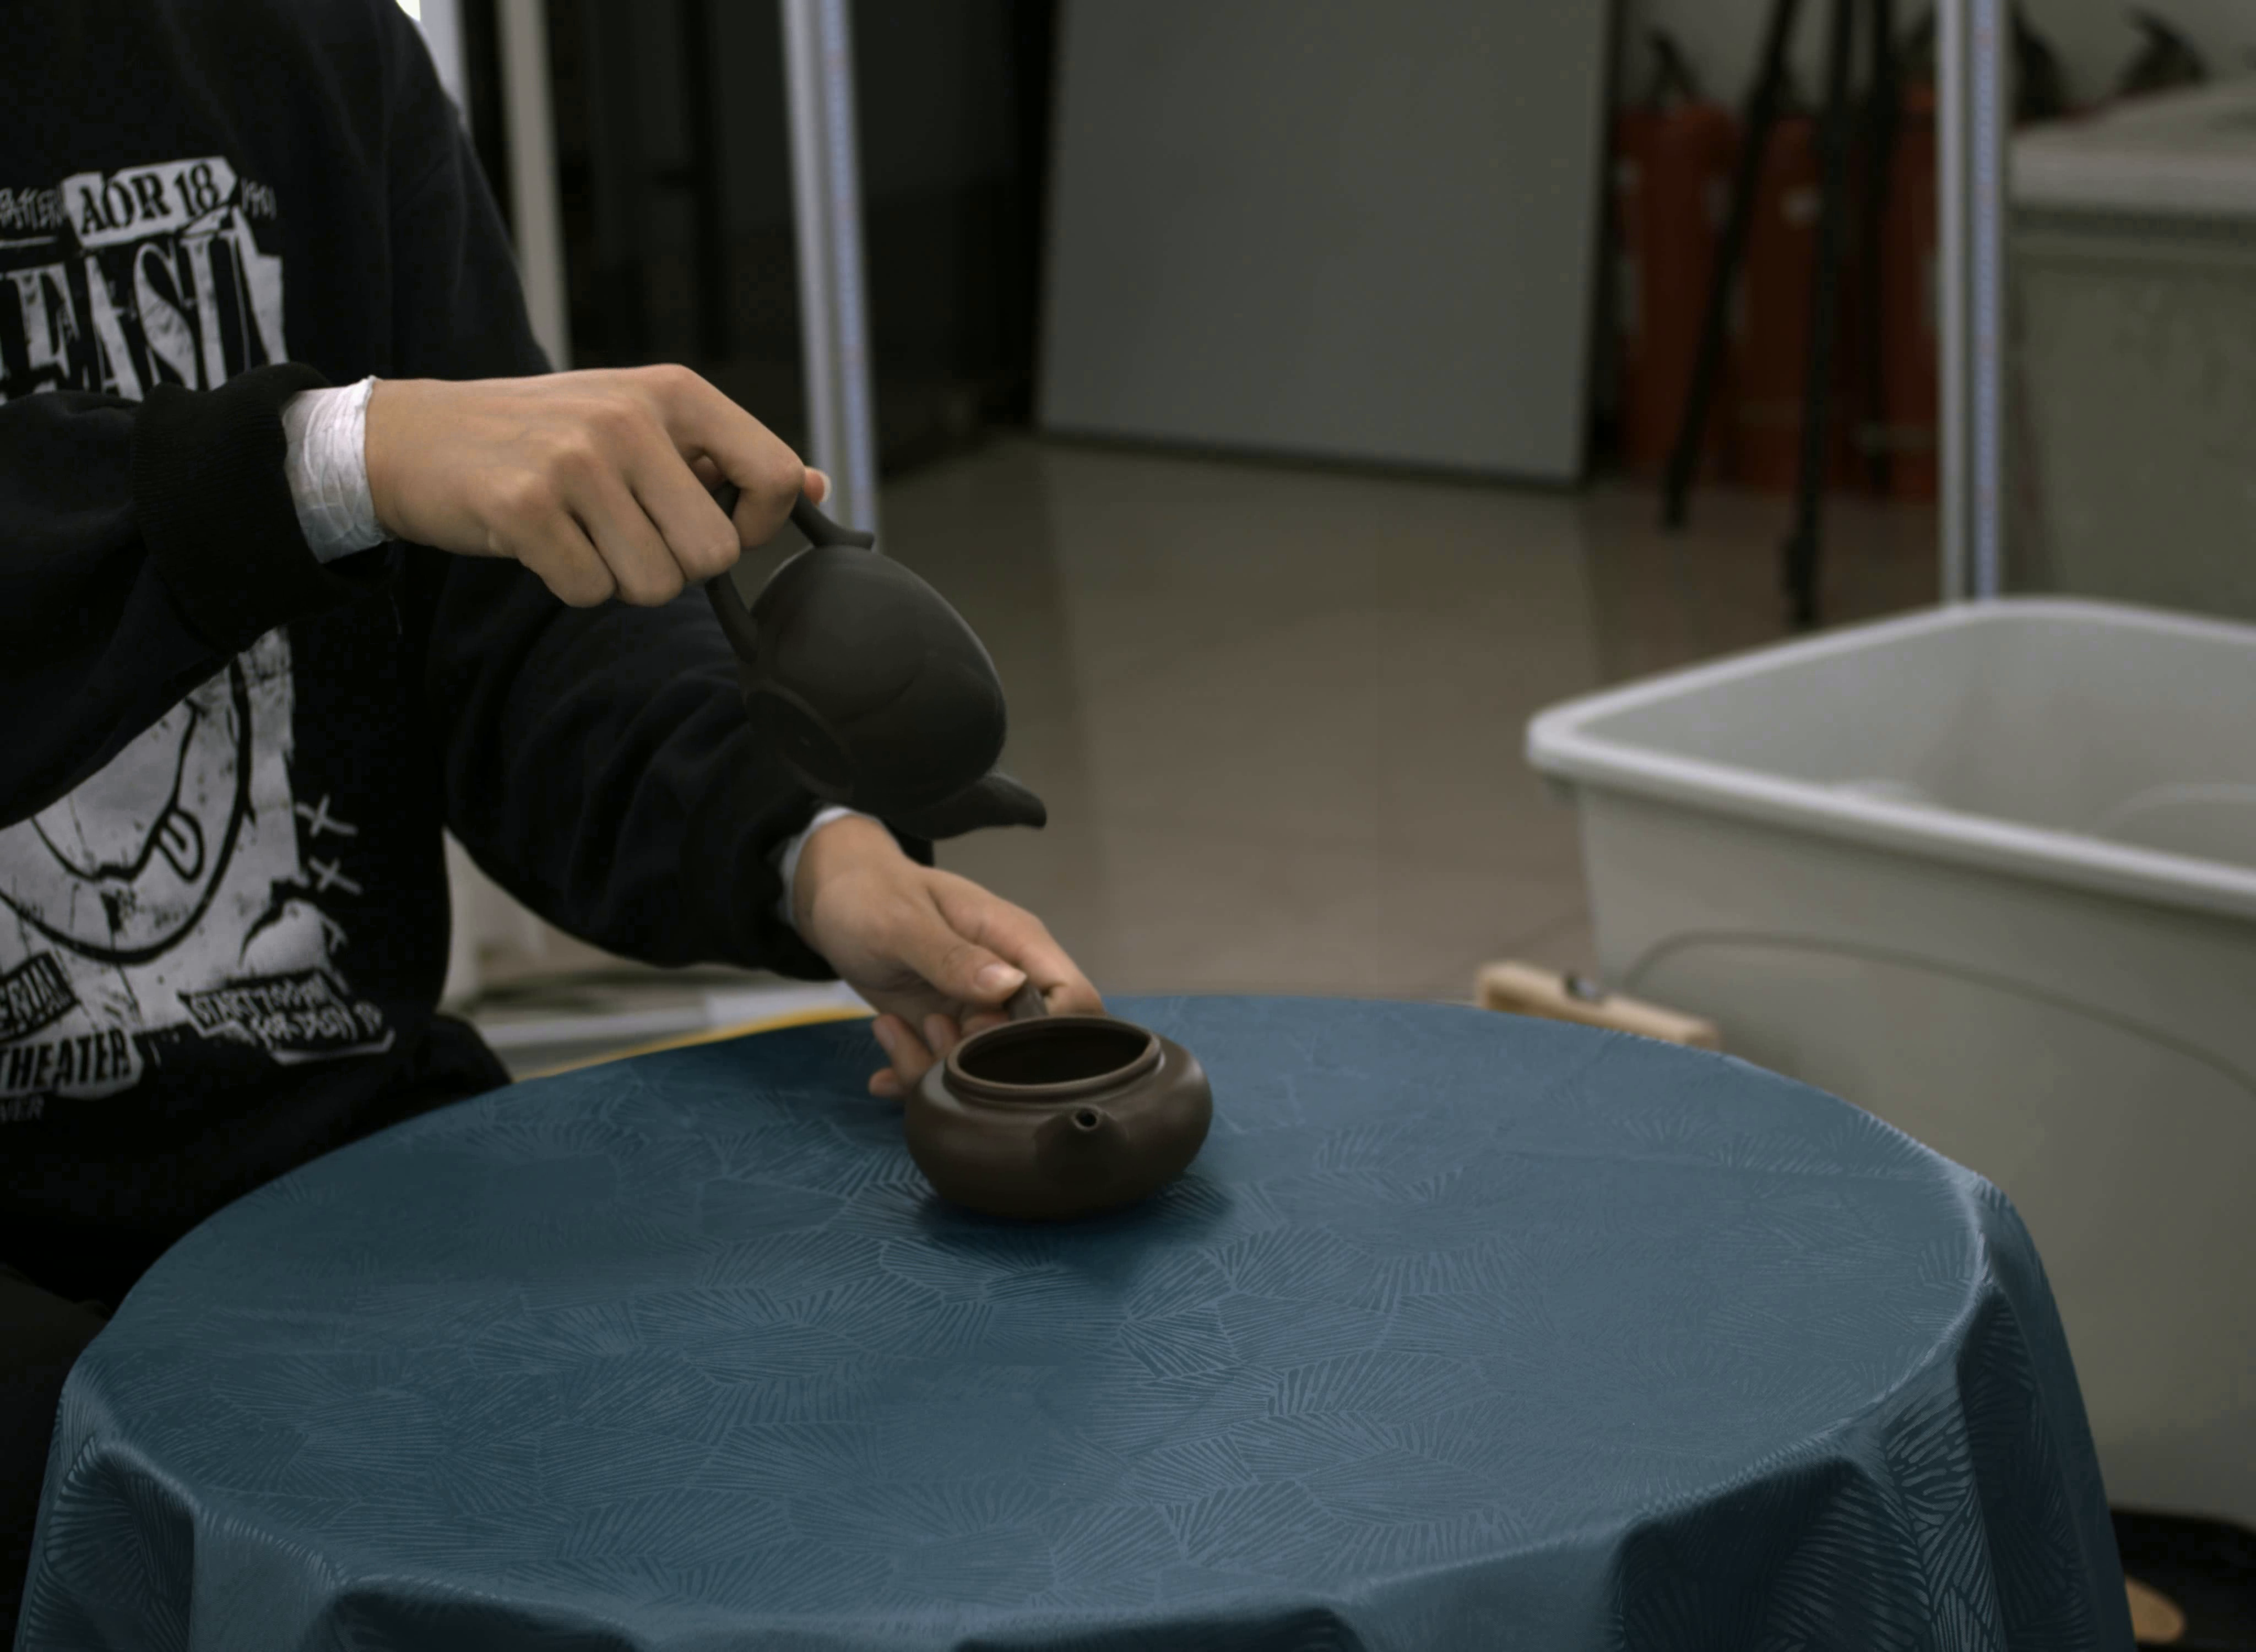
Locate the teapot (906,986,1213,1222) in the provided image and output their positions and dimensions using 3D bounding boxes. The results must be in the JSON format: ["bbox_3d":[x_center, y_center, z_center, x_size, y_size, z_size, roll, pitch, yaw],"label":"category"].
[{"bbox_3d":[-0.023,0.093,1.774,0.101,0.054,0.155,-8,18,-13],"label":"teapot"}]

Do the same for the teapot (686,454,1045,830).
[{"bbox_3d":[-0.085,-0.051,1.699,0.064,0.154,0.093,-45,14,-25],"label":"teapot"}]
